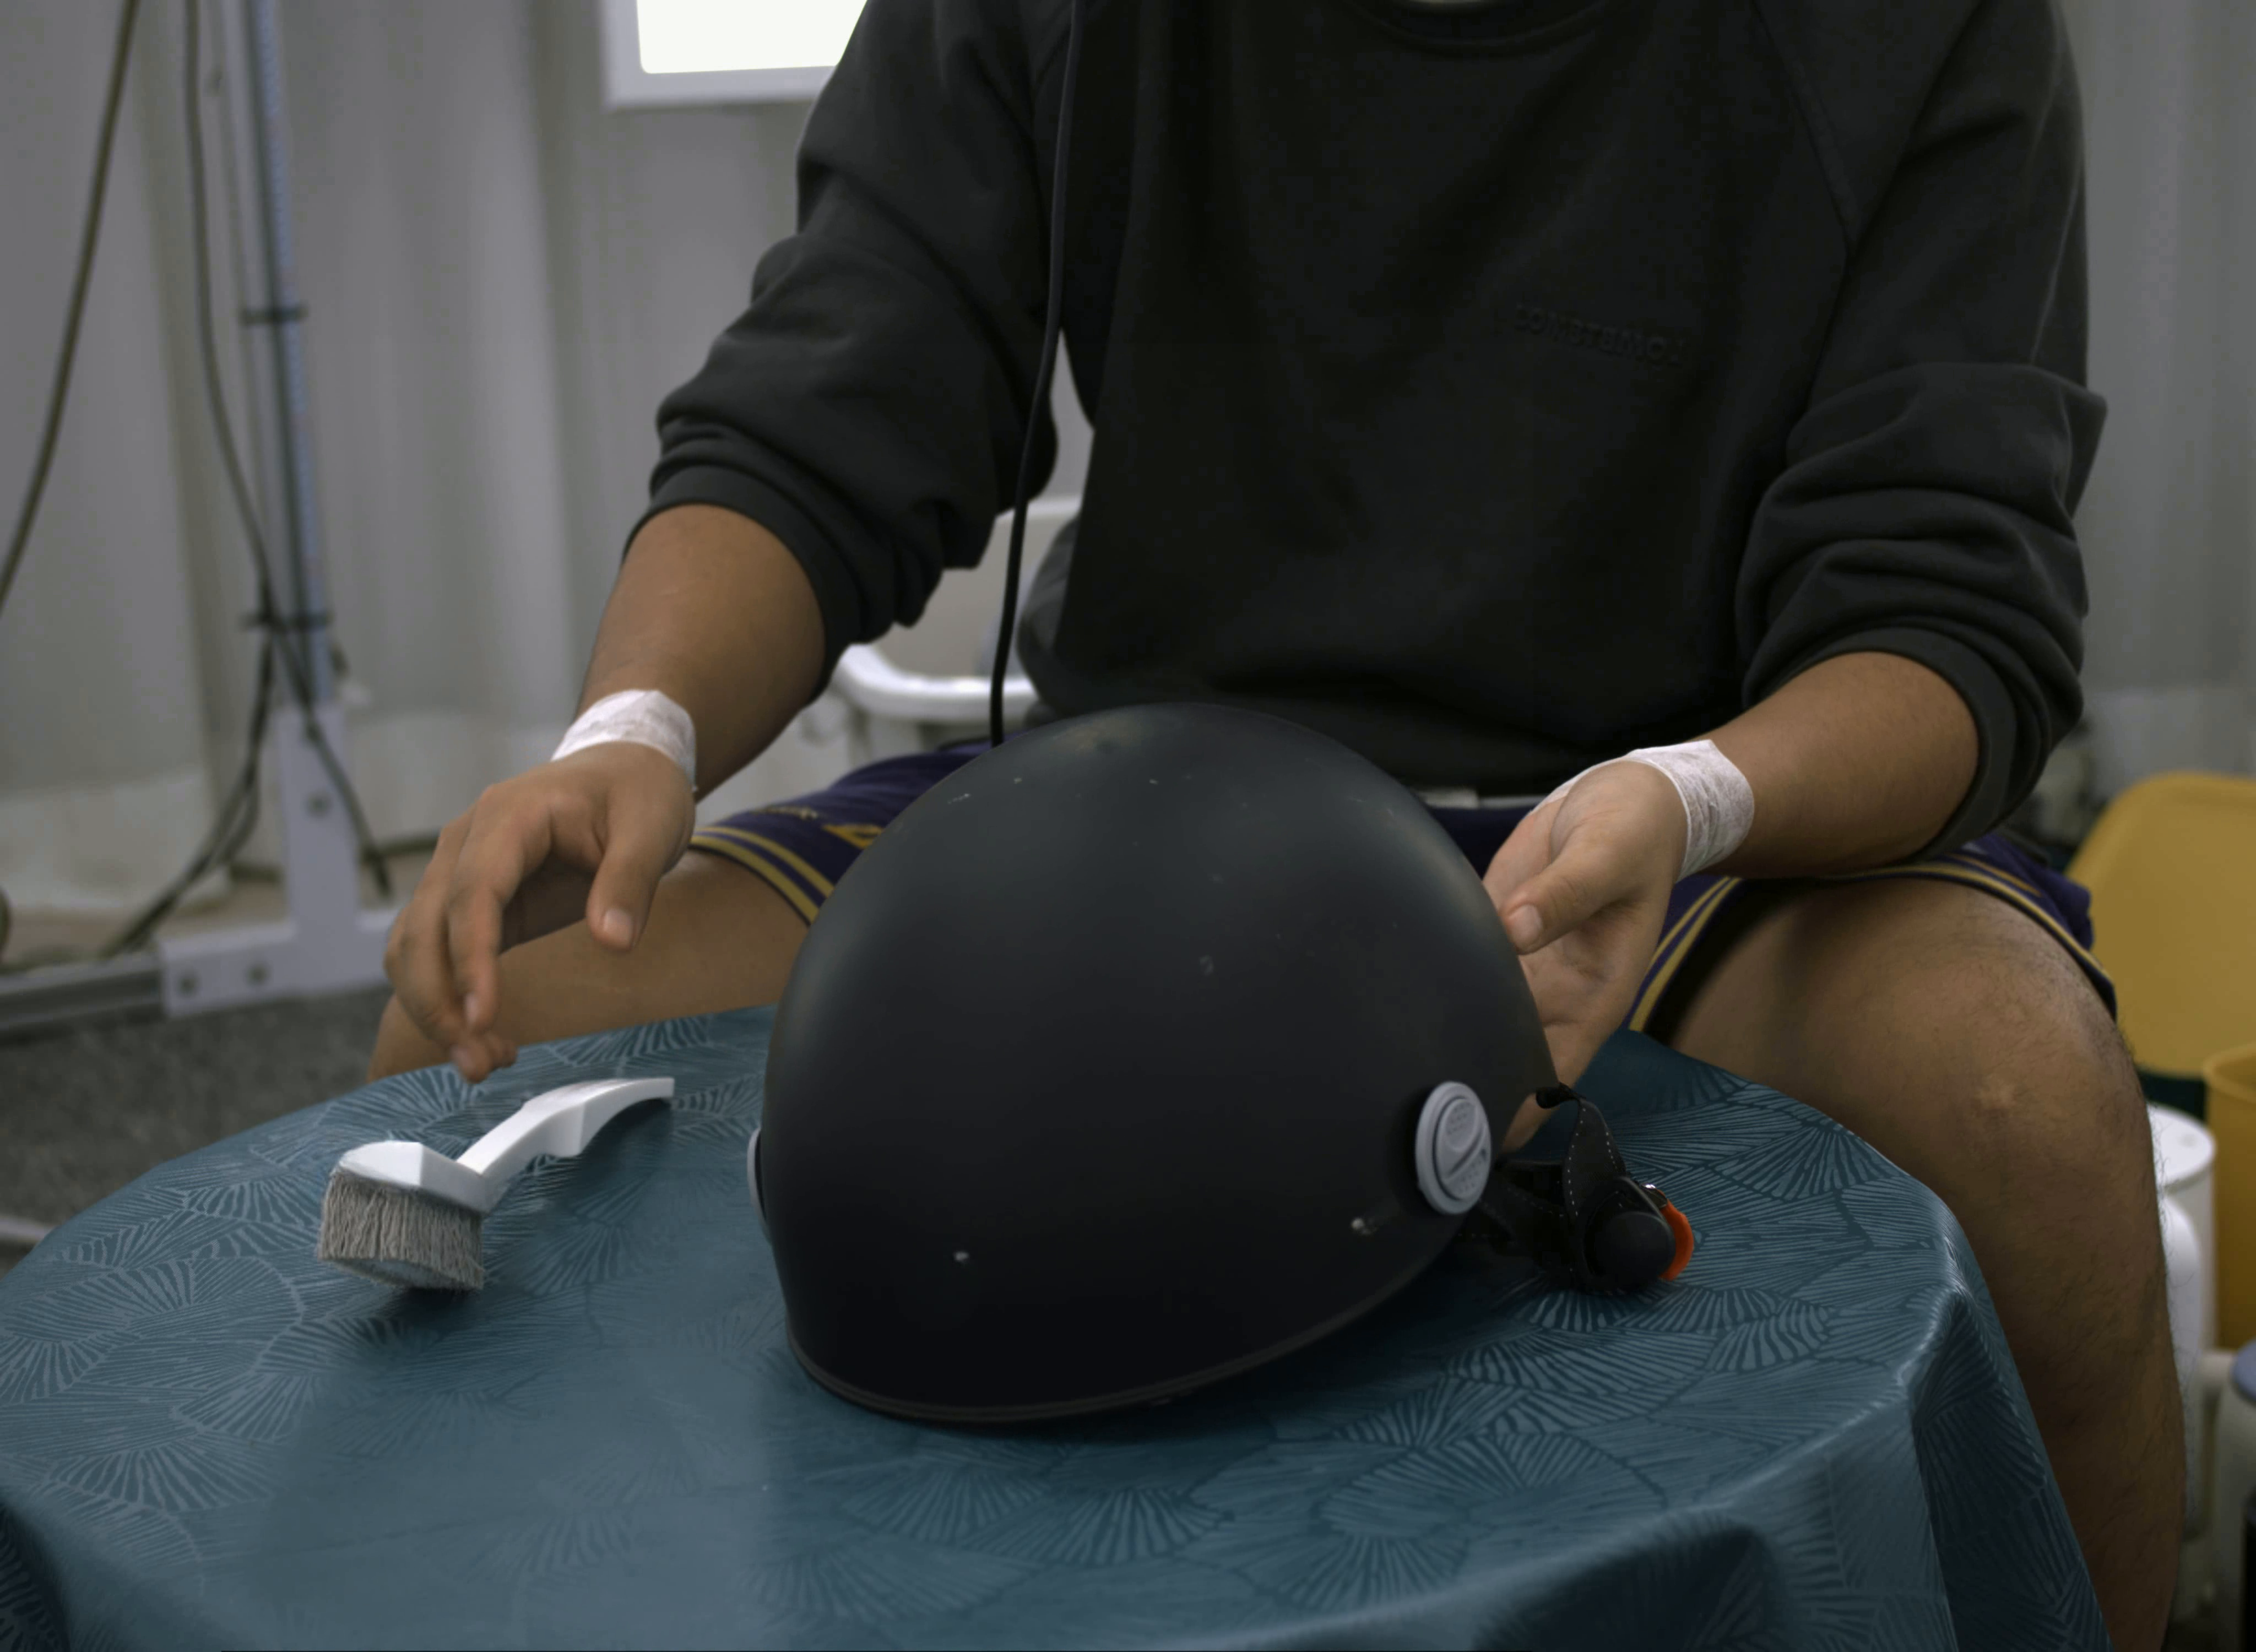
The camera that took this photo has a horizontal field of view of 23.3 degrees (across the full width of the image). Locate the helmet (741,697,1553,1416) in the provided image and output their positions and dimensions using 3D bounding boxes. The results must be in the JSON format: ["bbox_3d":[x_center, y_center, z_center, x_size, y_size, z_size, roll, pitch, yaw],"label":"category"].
[{"bbox_3d":[-0.001,0.053,1.612,0.230,0.166,0.274,-5,16,27],"label":"helmet"}]

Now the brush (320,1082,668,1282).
[{"bbox_3d":[-0.193,0.112,1.721,0.034,0.050,0.243,-3,1,15],"label":"brush"}]
